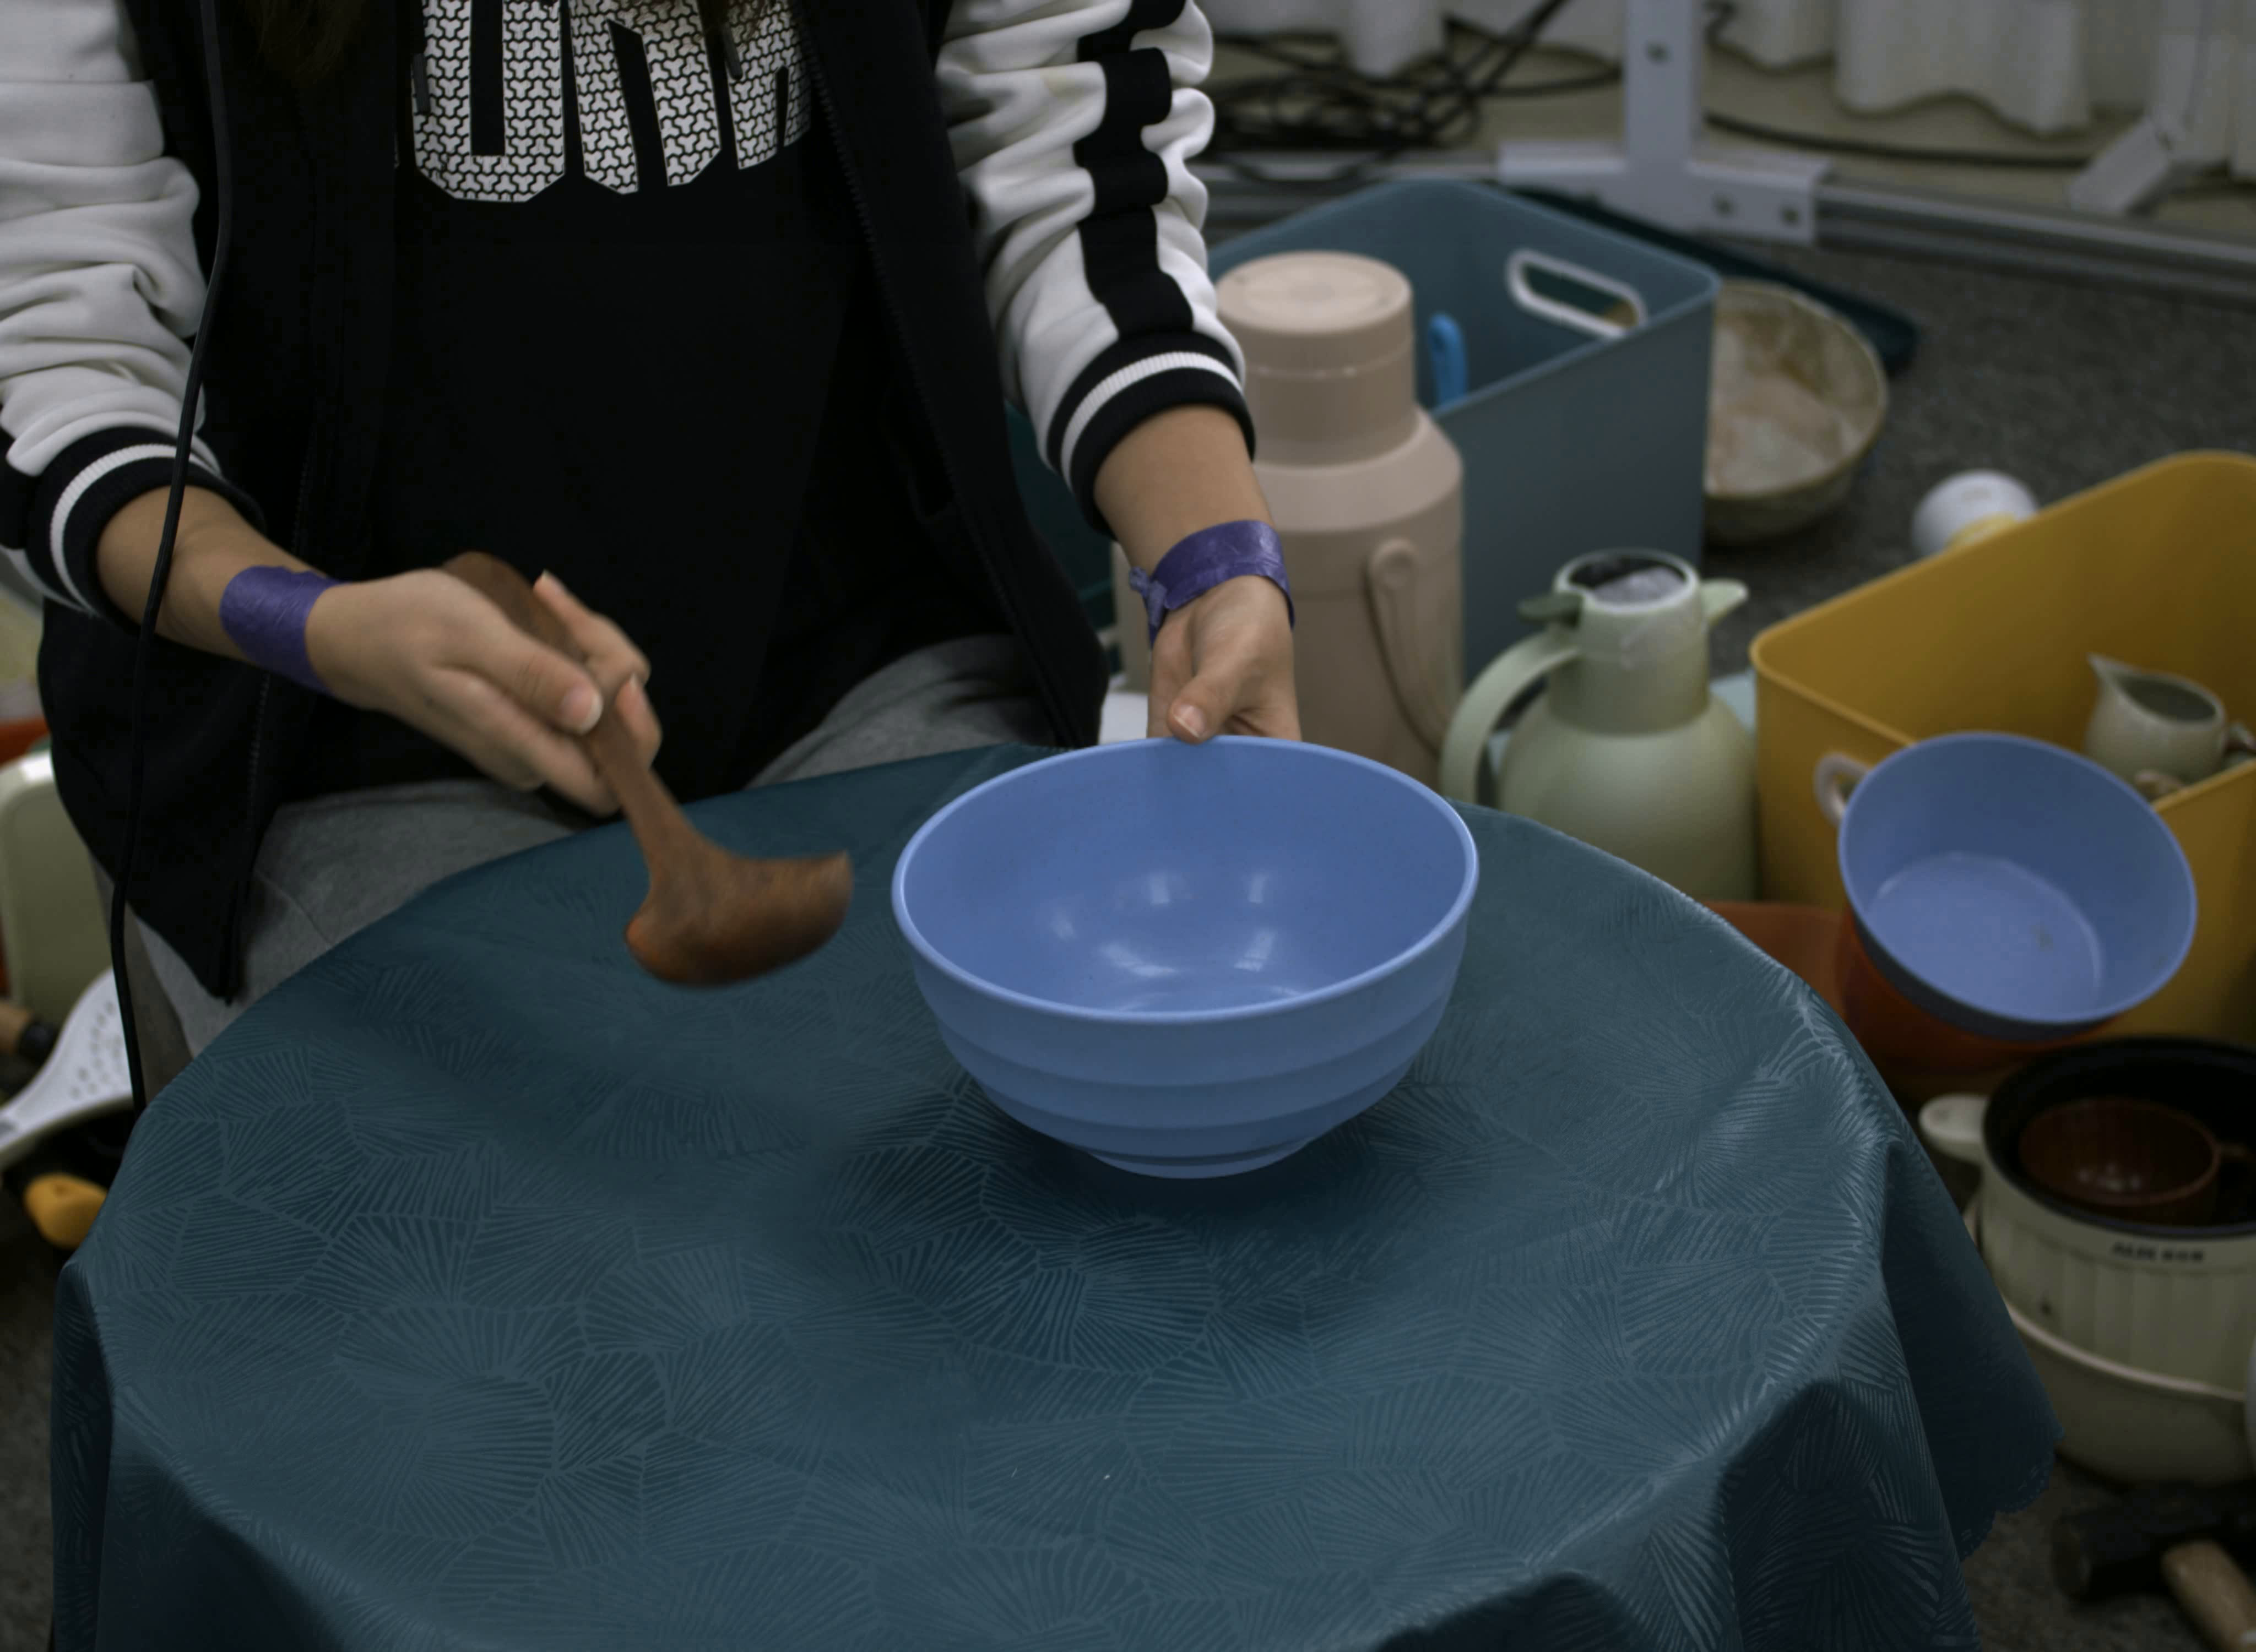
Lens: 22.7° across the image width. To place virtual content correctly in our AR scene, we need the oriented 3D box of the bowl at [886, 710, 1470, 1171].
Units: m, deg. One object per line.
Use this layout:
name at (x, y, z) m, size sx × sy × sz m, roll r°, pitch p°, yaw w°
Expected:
bowl at (0.021, 0.052, 1.894) m, size 0.195 × 0.094 × 0.200 m, roll -5°, pitch 32°, yaw 4°

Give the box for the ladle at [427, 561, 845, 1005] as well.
ladle at (-0.171, -0.027, 1.836) m, size 0.077 × 0.064 × 0.263 m, roll -17°, pitch 45°, yaw -23°
